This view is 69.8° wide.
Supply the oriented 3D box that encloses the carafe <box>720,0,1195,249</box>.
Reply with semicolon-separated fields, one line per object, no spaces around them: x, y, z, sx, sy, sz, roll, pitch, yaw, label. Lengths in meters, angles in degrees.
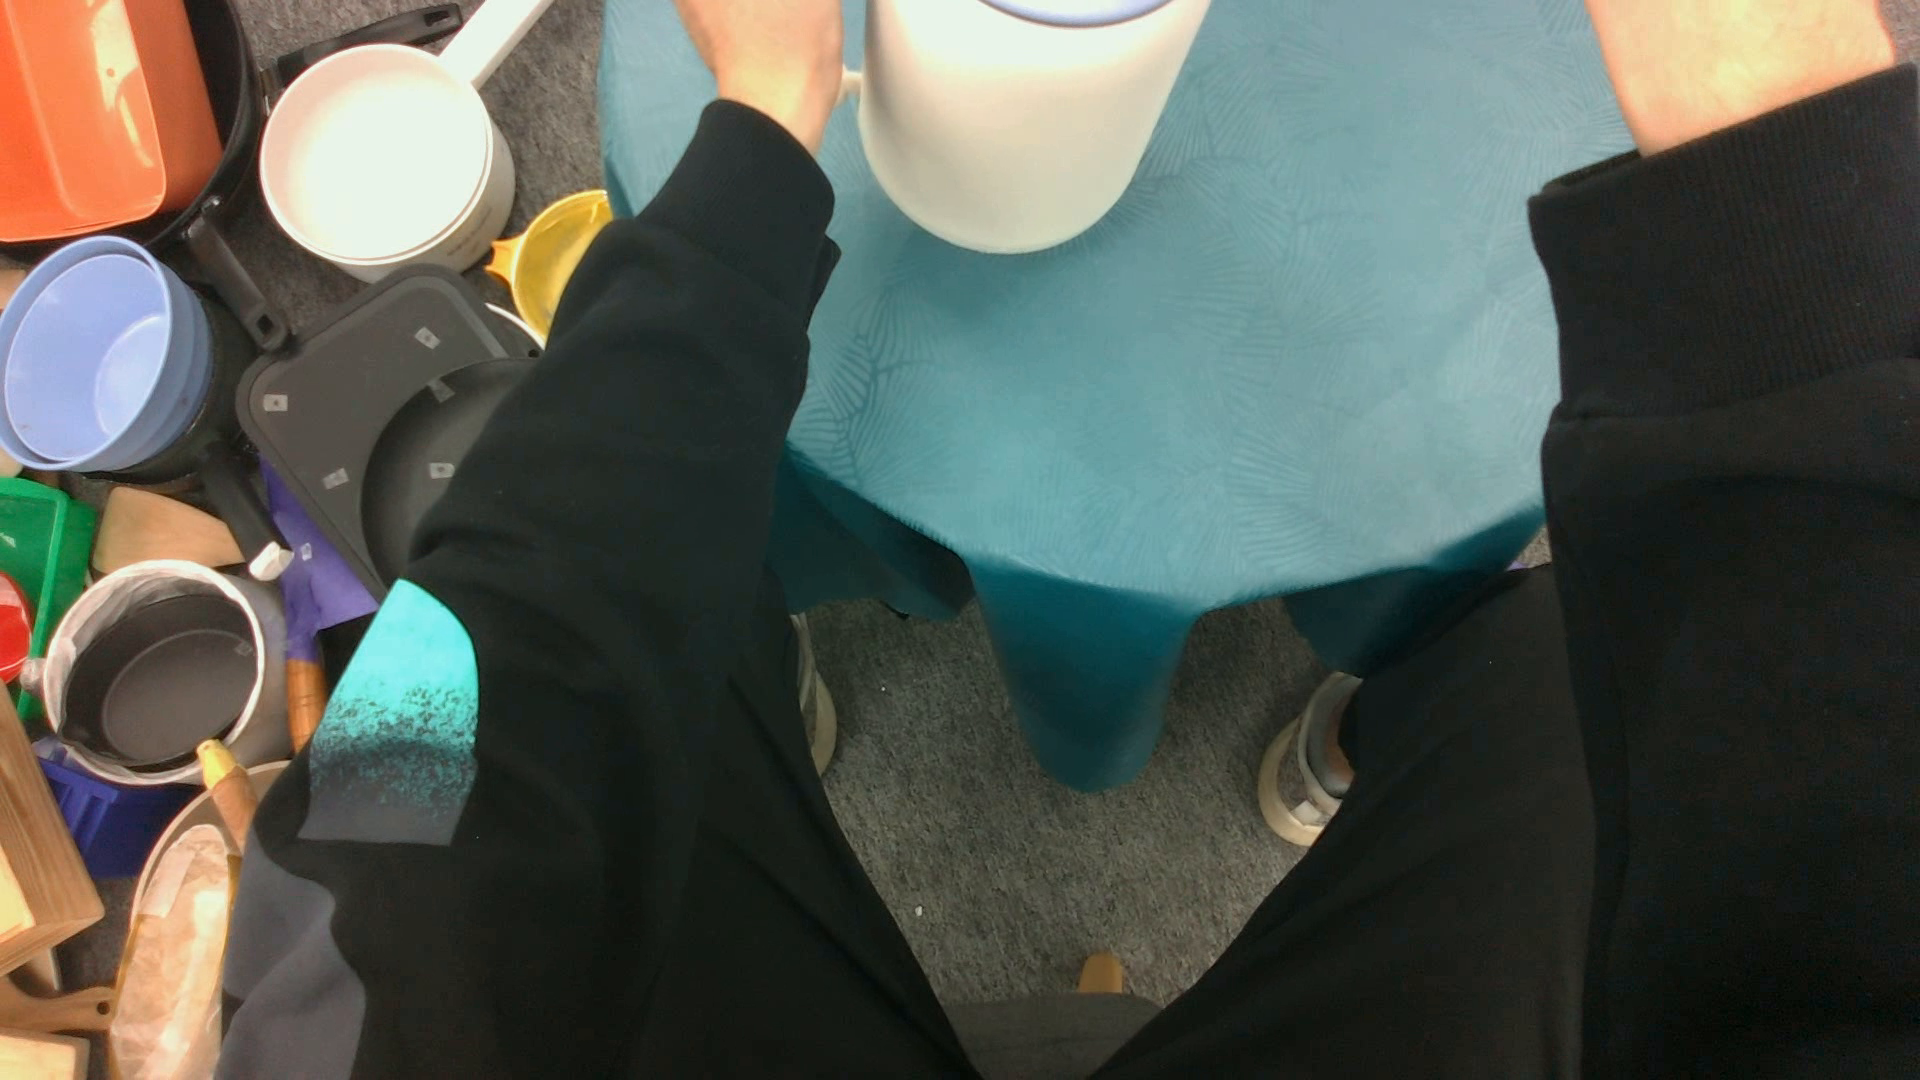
-0.002;-0.215;0.560;0.191;0.182;0.132;3;74;-4;carafe
